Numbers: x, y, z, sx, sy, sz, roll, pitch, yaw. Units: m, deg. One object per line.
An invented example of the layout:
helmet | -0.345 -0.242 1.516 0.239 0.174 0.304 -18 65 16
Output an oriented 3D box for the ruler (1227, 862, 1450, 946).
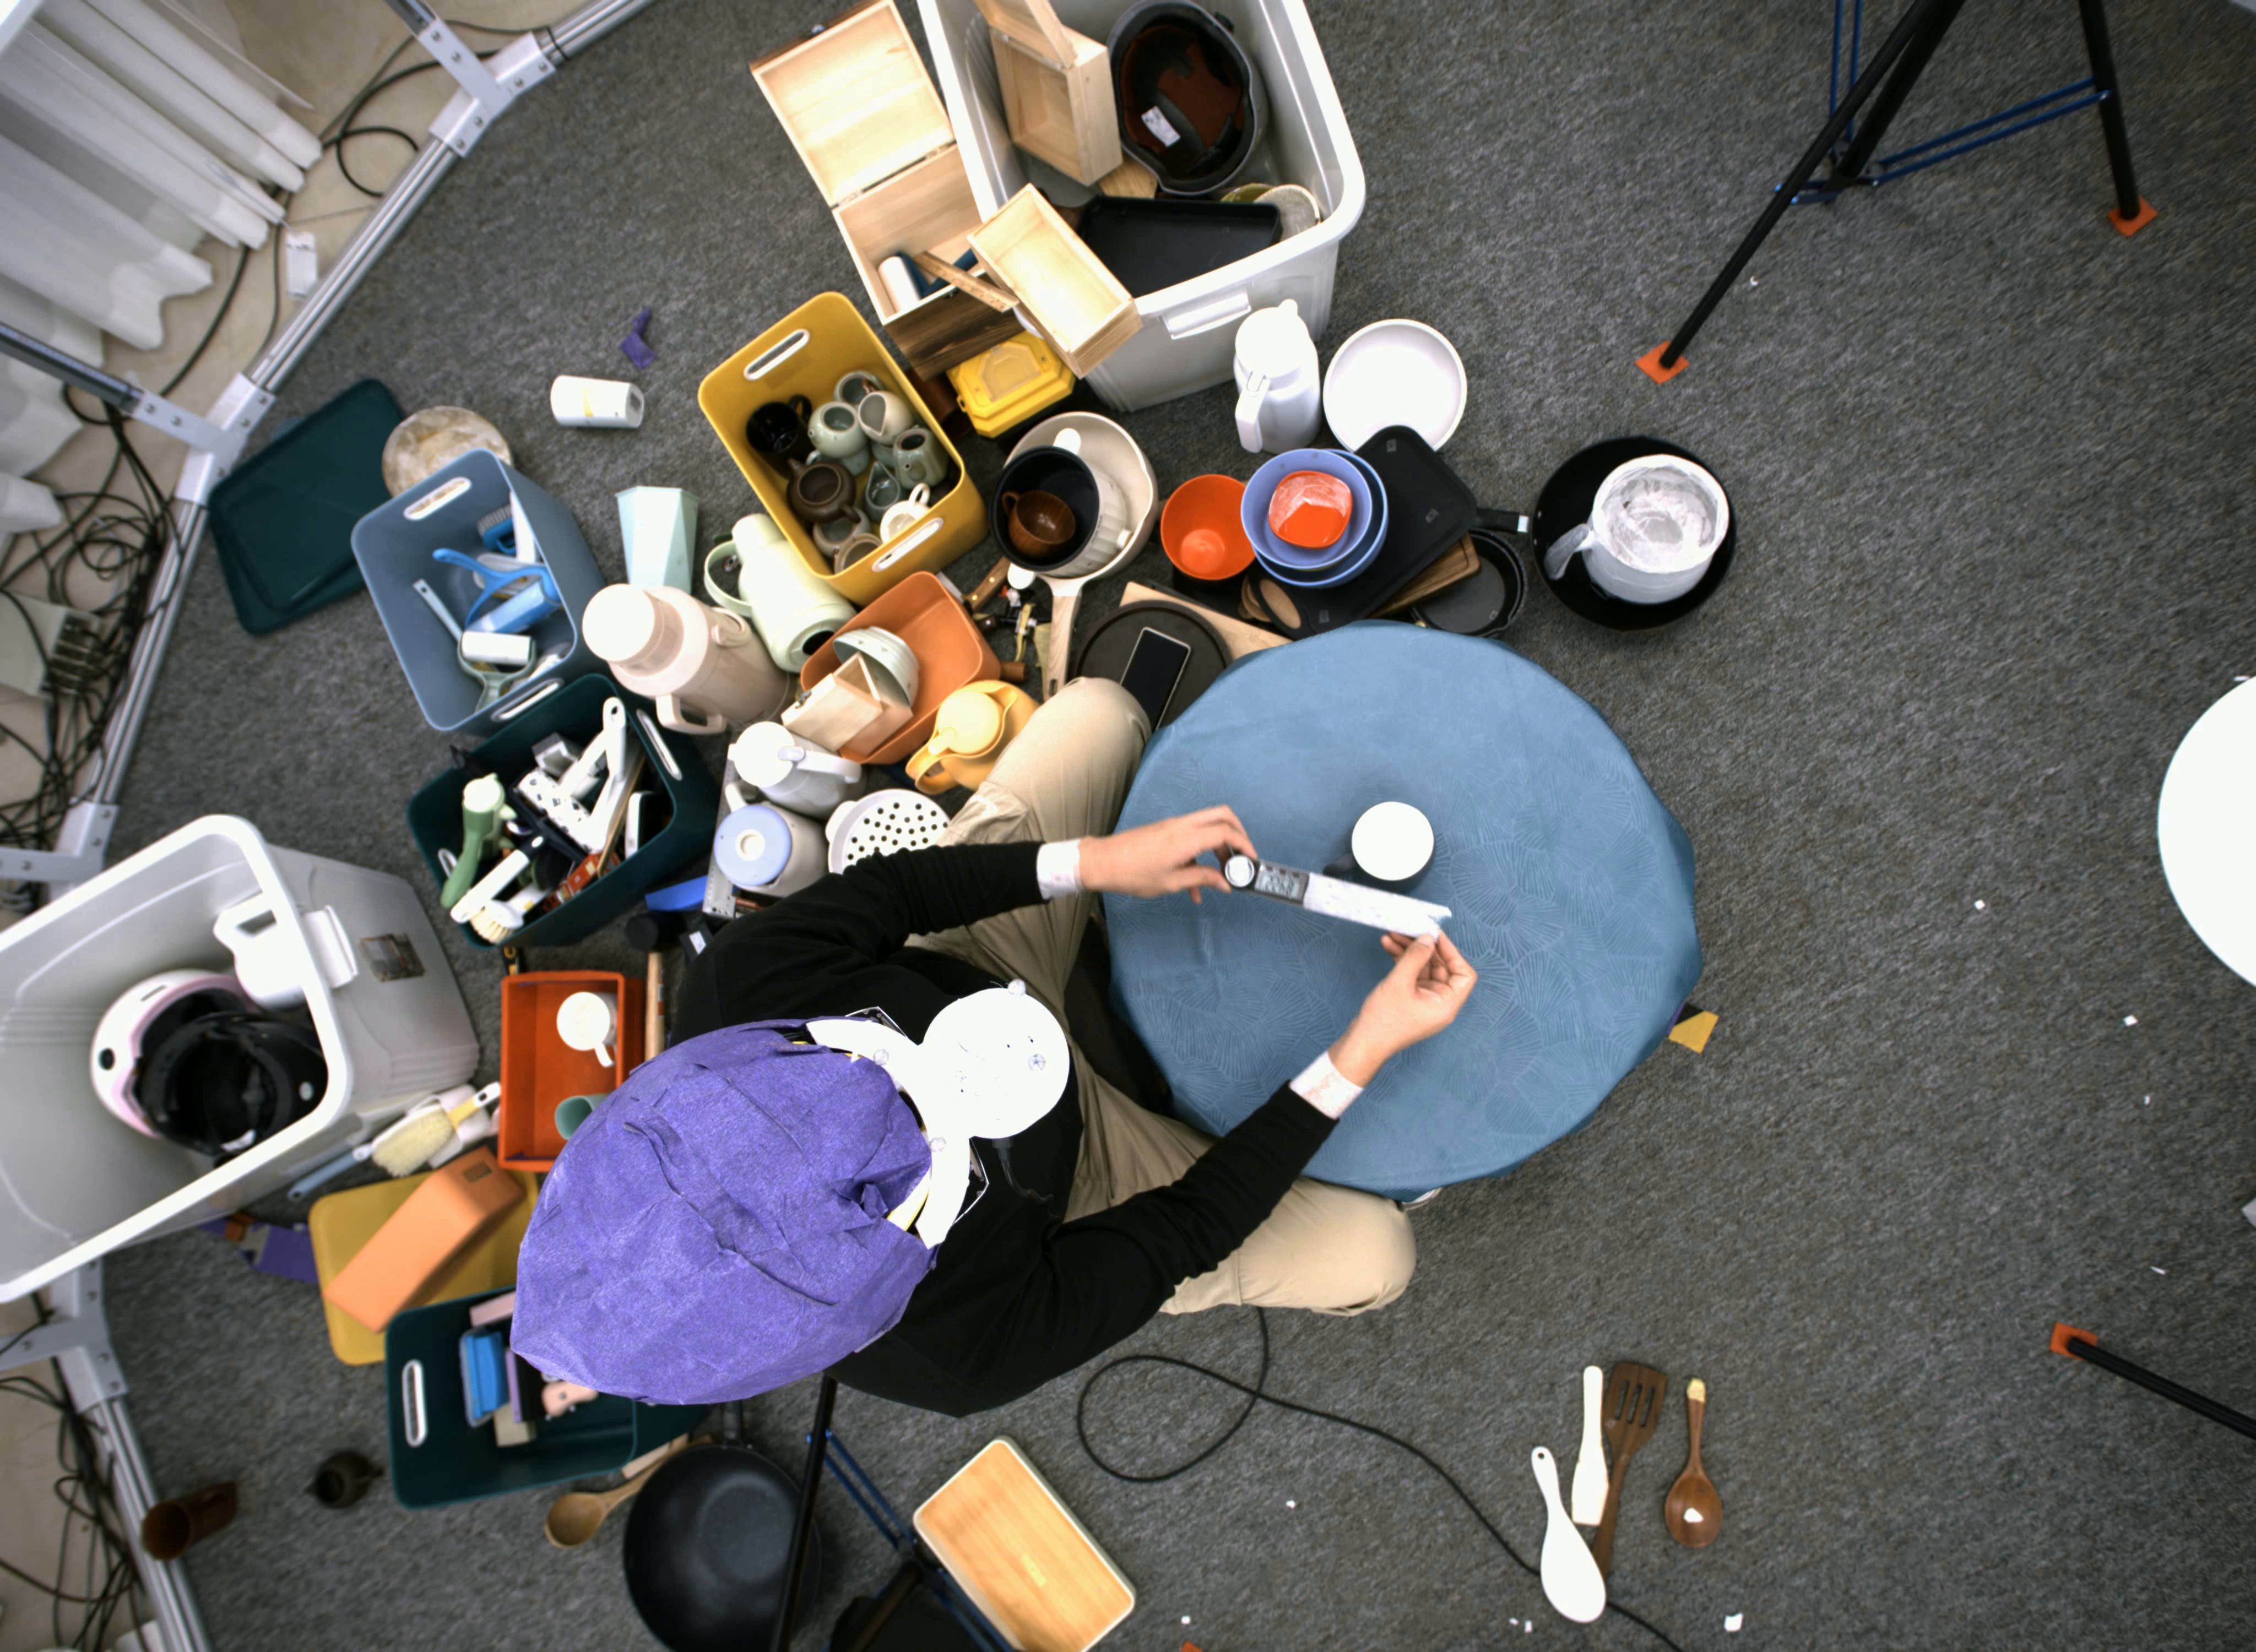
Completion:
ruler | 0.201 0.072 1.347 0.218 0.024 0.038 14 92 17

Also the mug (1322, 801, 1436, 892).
mug | 0.257 0.024 1.418 0.124 0.090 0.093 -24 81 7
